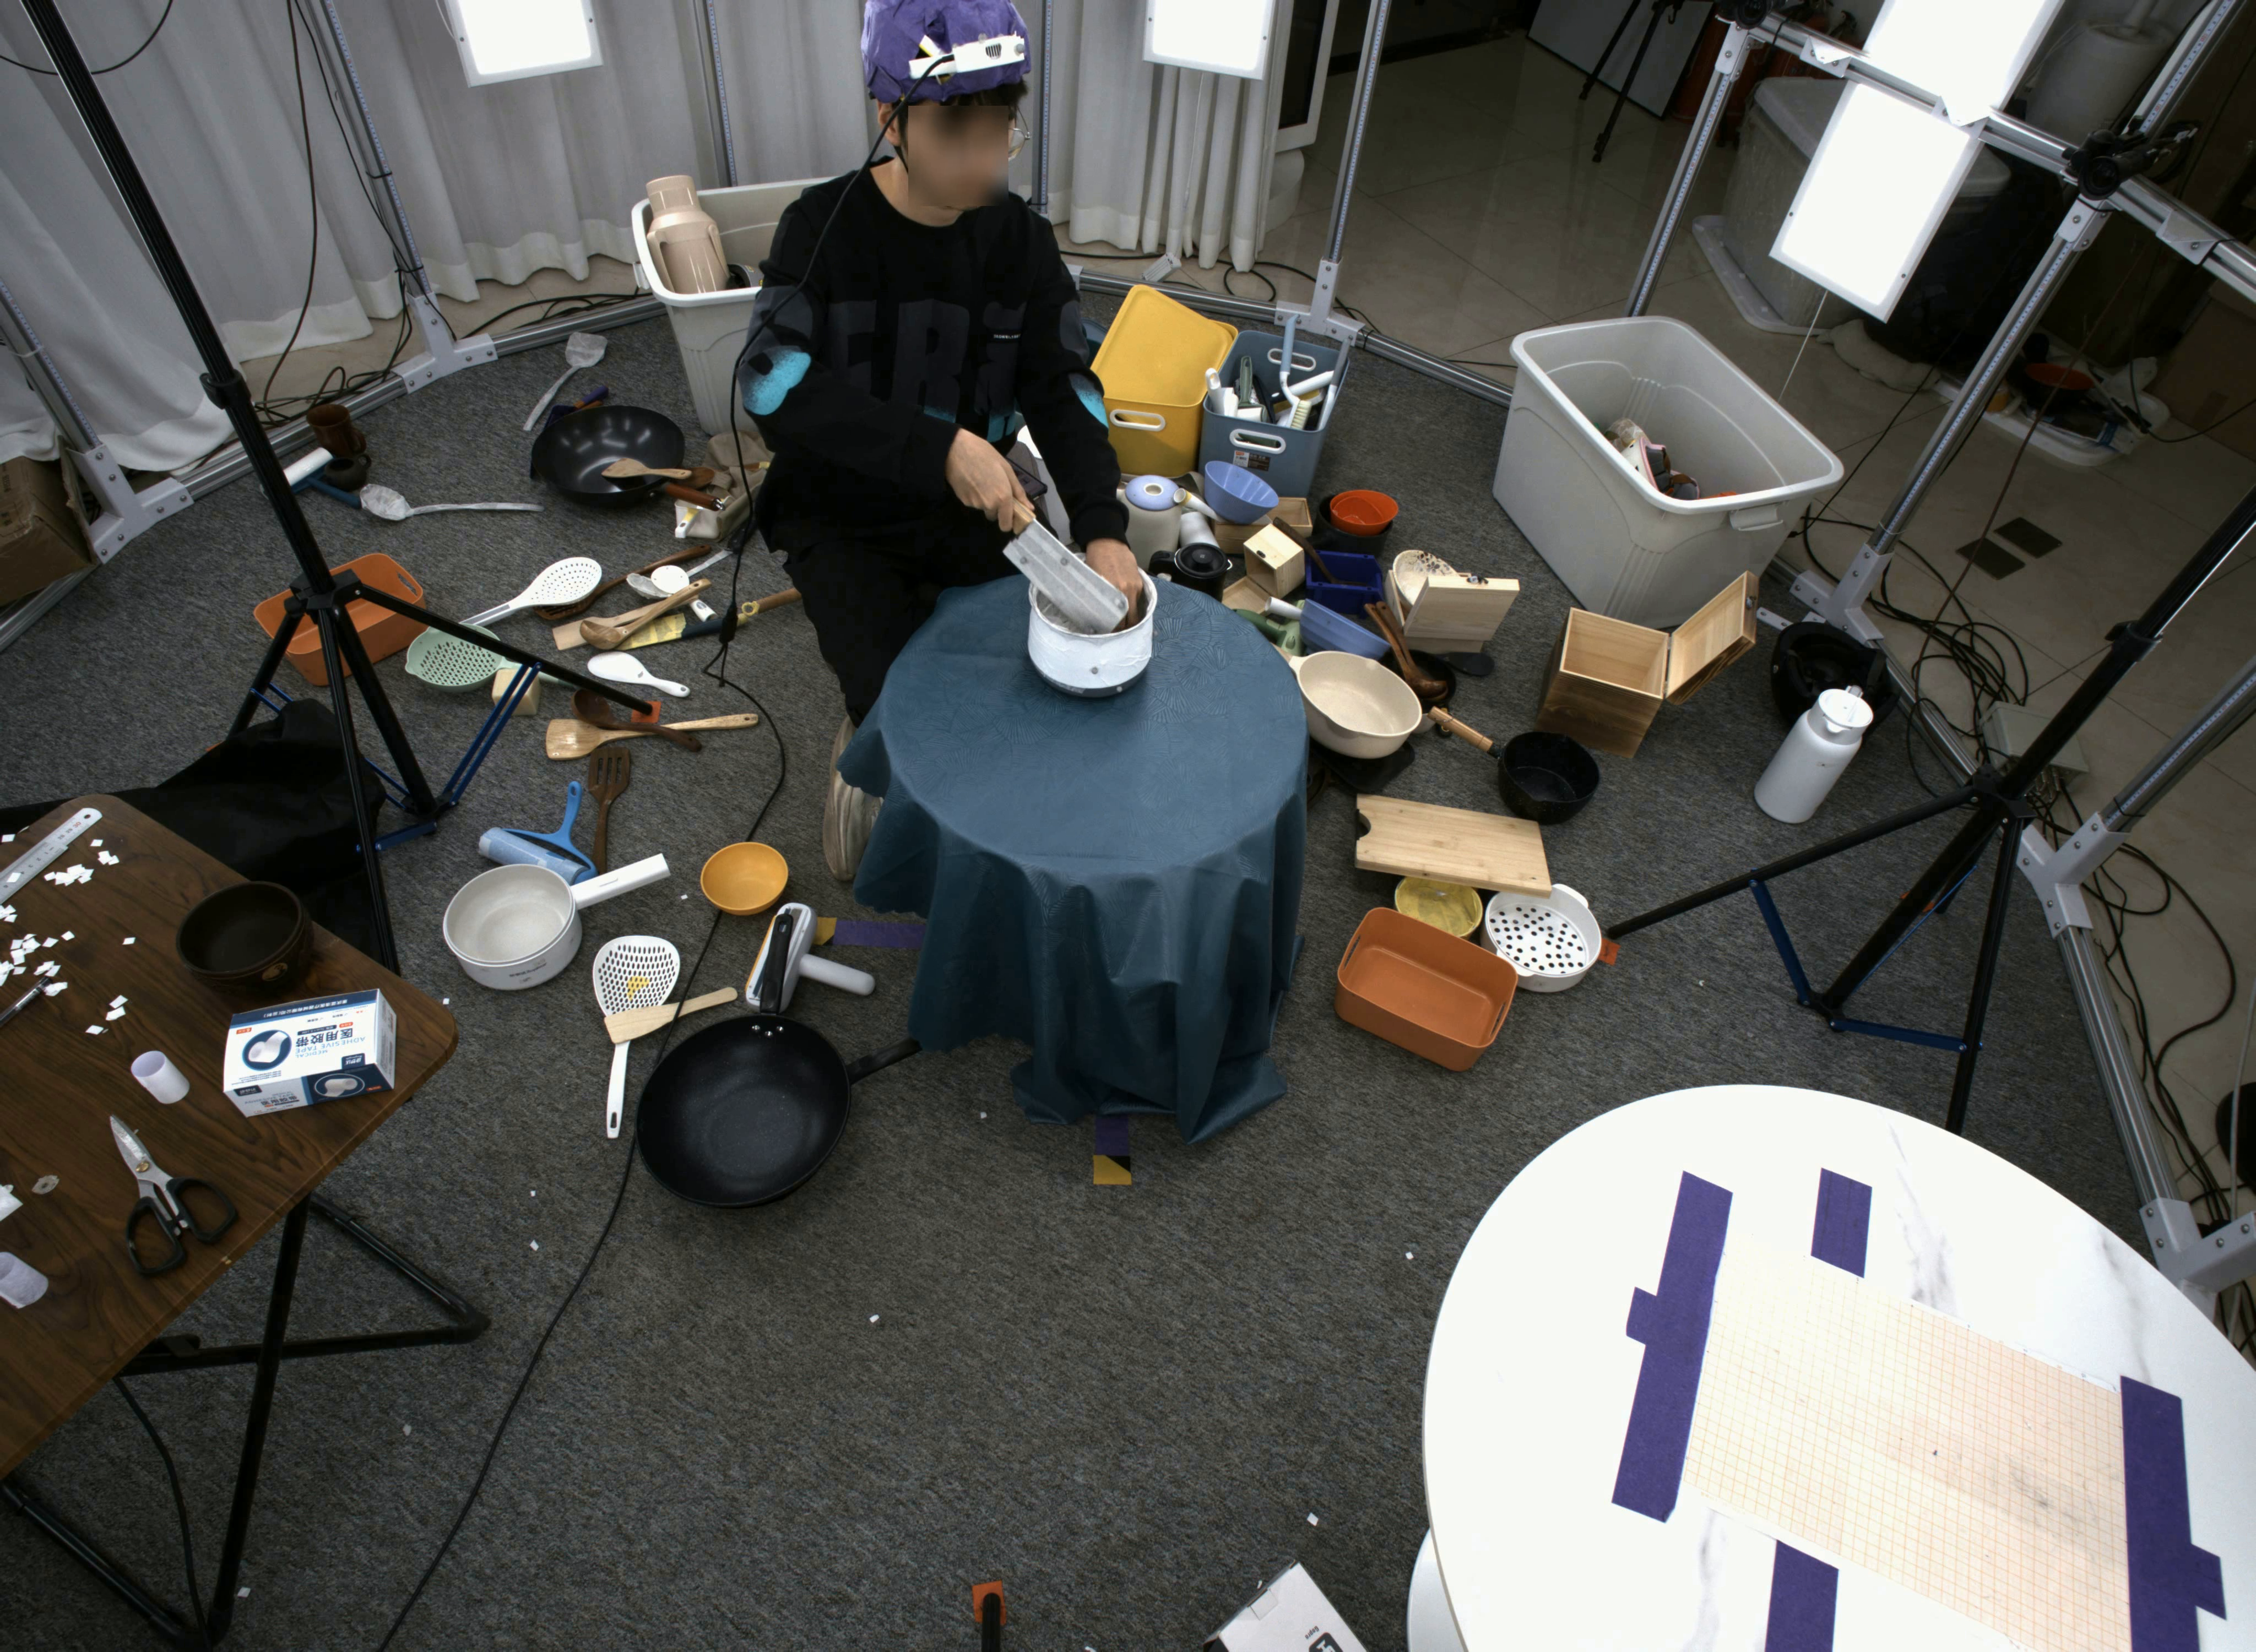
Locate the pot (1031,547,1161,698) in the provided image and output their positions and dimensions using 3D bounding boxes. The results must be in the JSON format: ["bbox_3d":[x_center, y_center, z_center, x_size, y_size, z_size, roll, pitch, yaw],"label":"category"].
[{"bbox_3d":[-0.061,-0.300,1.835,0.179,0.133,0.238,-21,55,-21],"label":"pot"}]

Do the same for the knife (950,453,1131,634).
[{"bbox_3d":[-0.118,-0.373,1.727,0.314,0.112,0.022,46,49,-7],"label":"knife"}]
